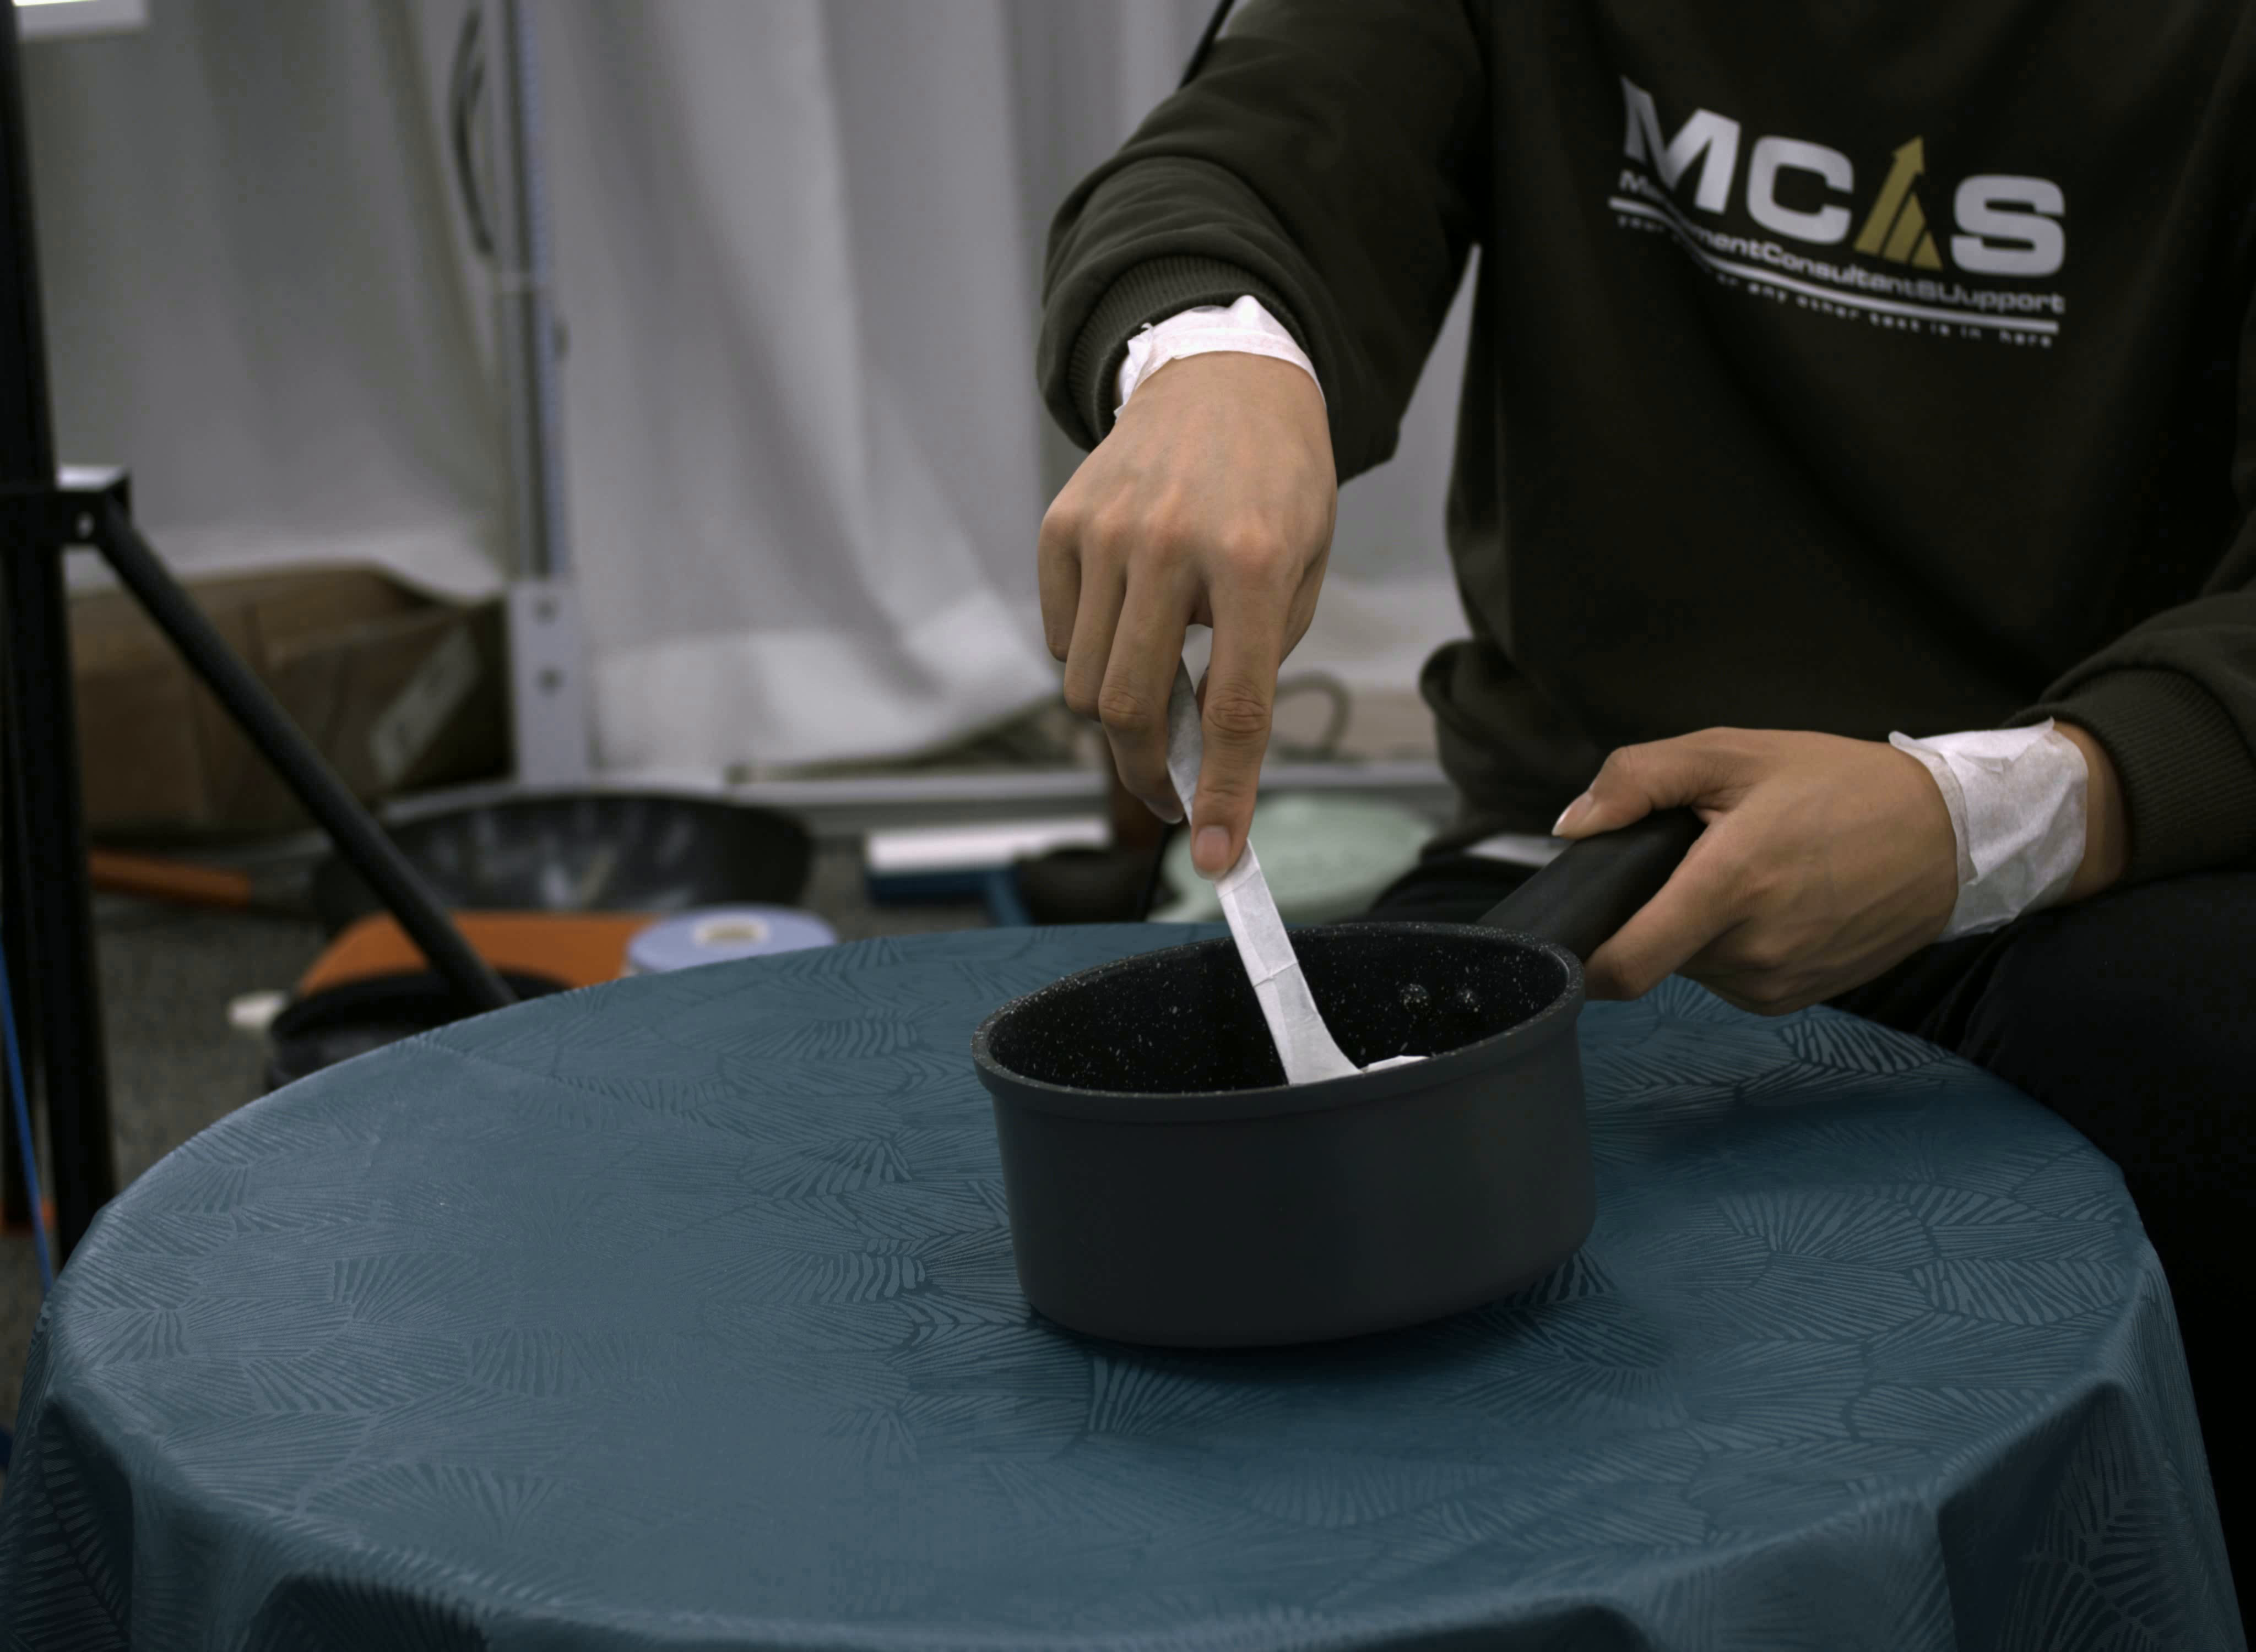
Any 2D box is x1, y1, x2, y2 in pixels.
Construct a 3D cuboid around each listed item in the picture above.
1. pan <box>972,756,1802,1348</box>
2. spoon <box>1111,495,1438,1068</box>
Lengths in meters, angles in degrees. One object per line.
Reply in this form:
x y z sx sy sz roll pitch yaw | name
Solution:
0.095 0.062 1.526 0.175 0.086 0.322 5 19 41 | pan
0.032 0.010 1.502 0.101 0.282 0.058 -26 -29 14 | spoon
